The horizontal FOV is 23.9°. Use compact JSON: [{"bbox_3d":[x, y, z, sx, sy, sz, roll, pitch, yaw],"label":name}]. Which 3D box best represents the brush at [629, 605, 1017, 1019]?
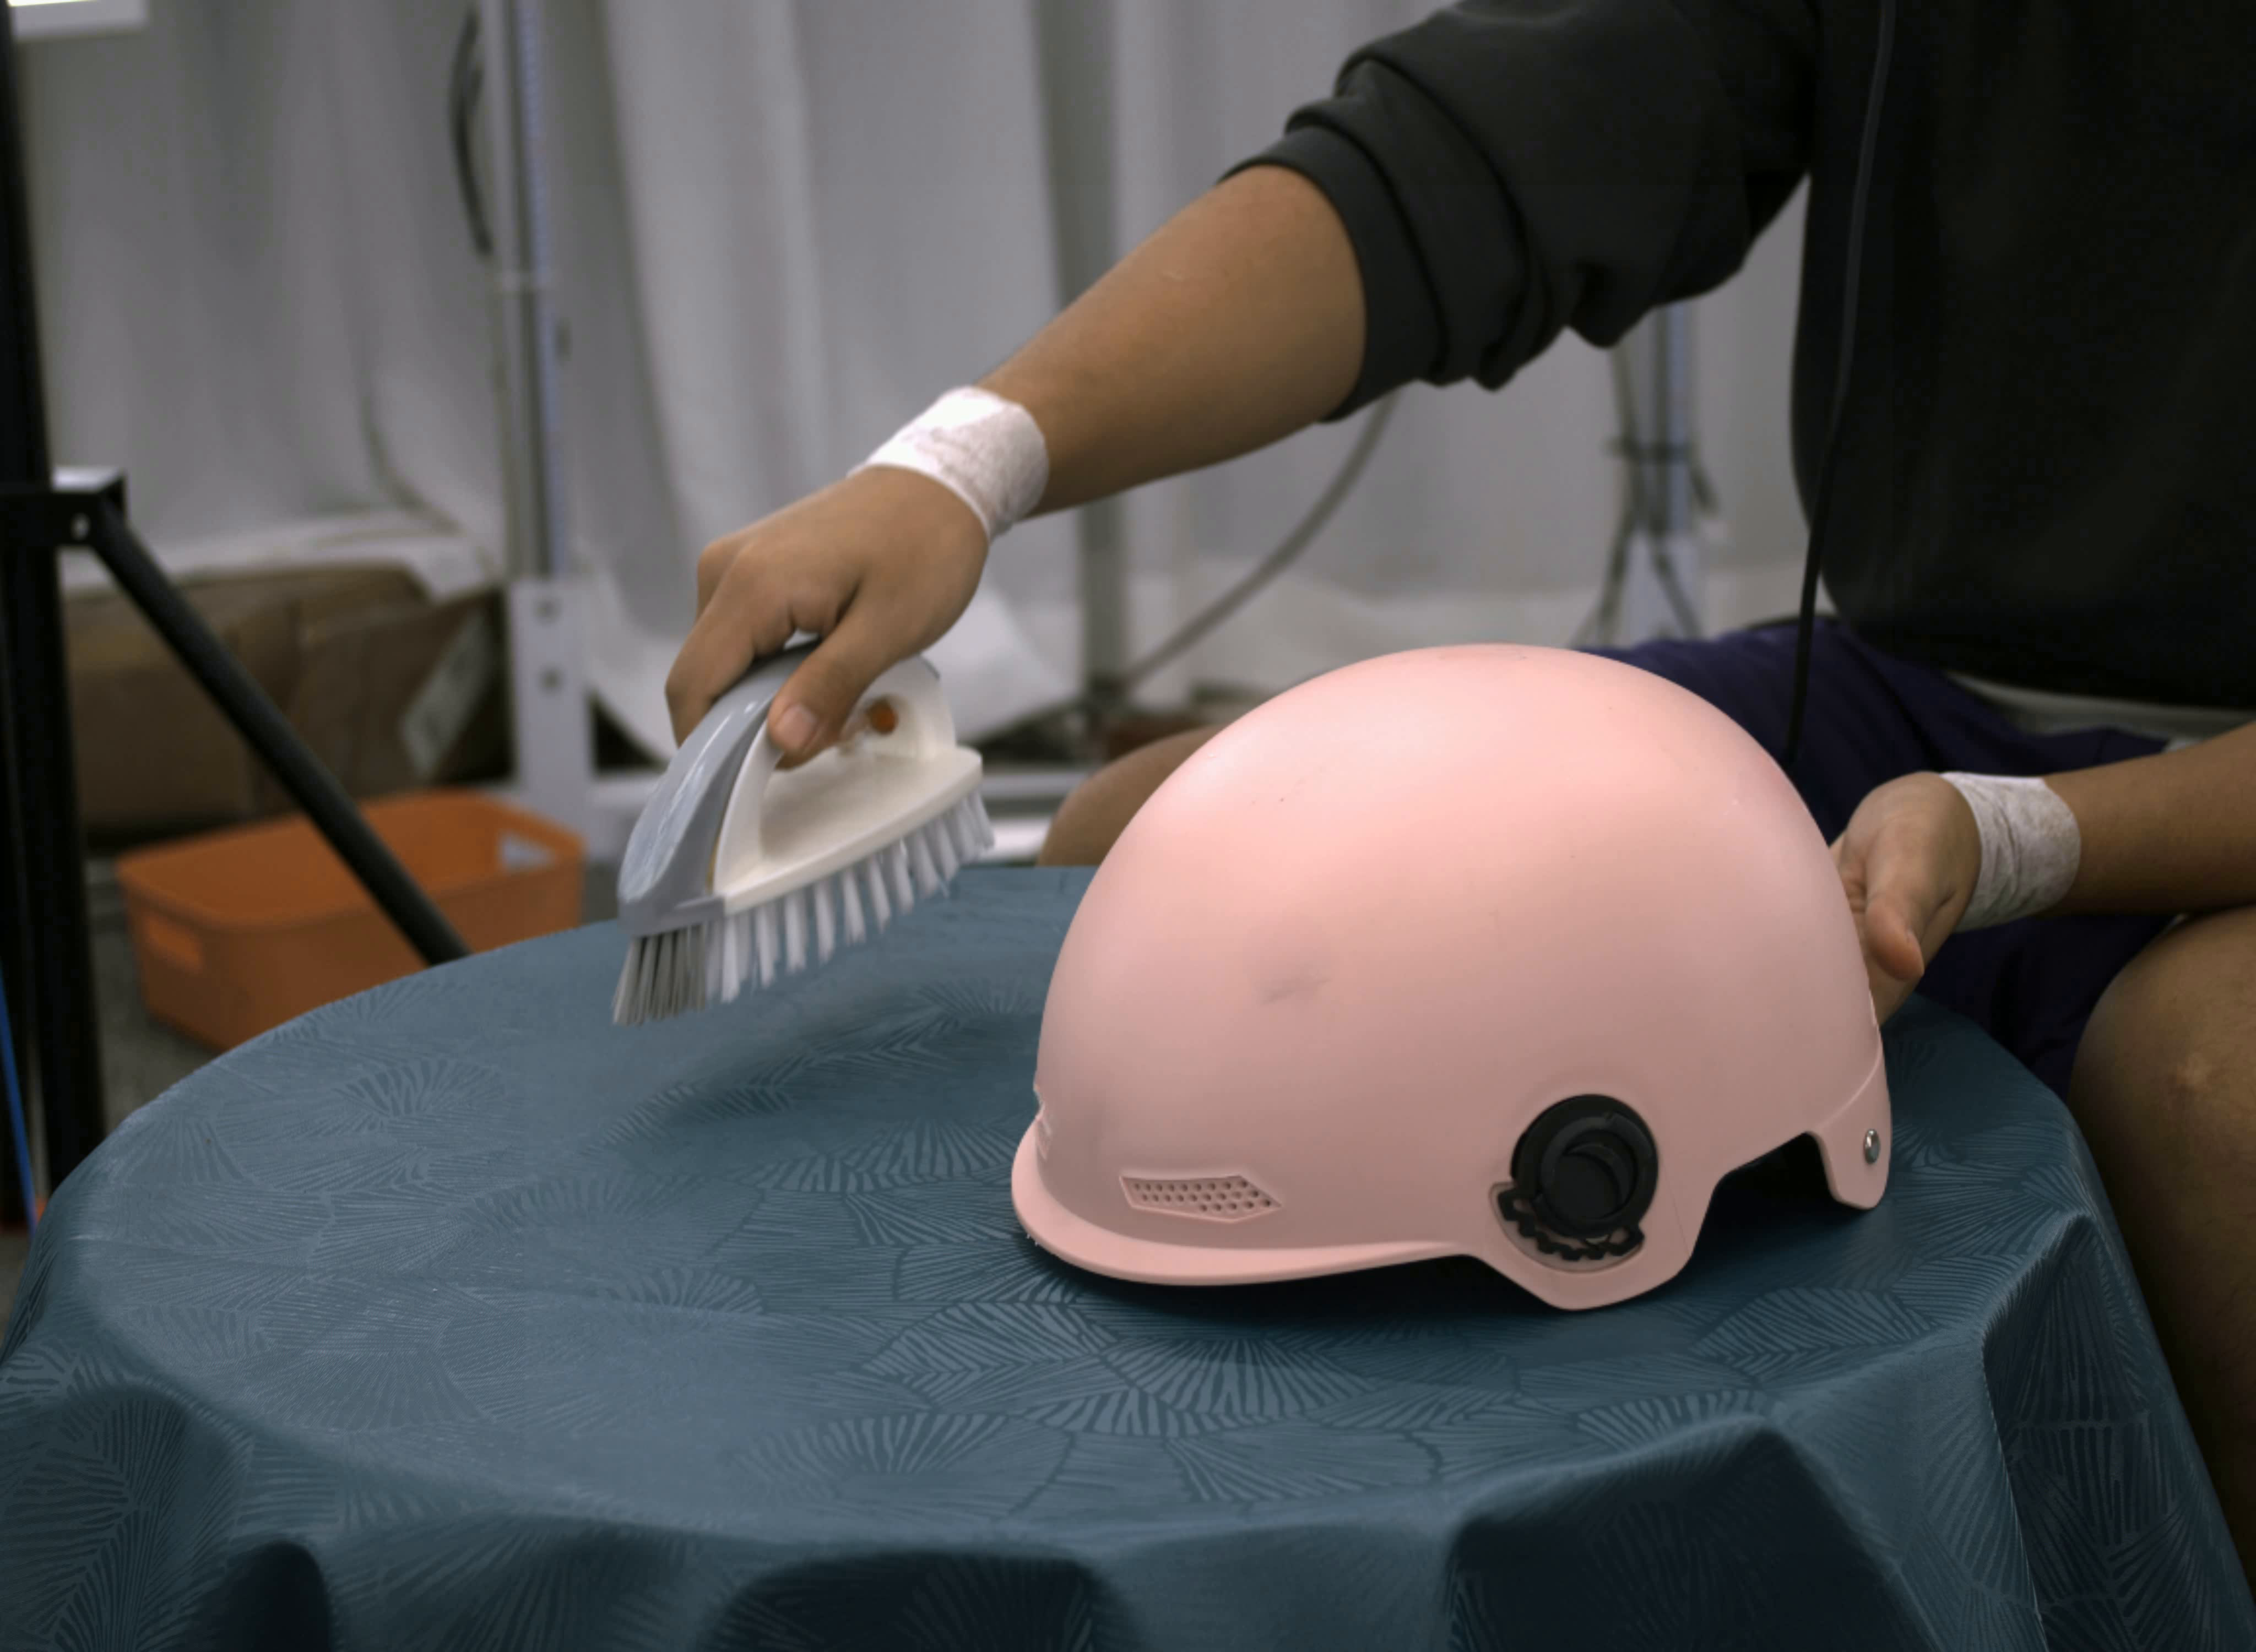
[{"bbox_3d":[-0.105,-0.010,1.680,0.062,0.094,0.173,8,27,34],"label":"brush"}]

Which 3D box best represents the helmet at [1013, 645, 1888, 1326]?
[{"bbox_3d":[0.089,0.034,1.530,0.260,0.158,0.239,-15,20,-27],"label":"helmet"}]
